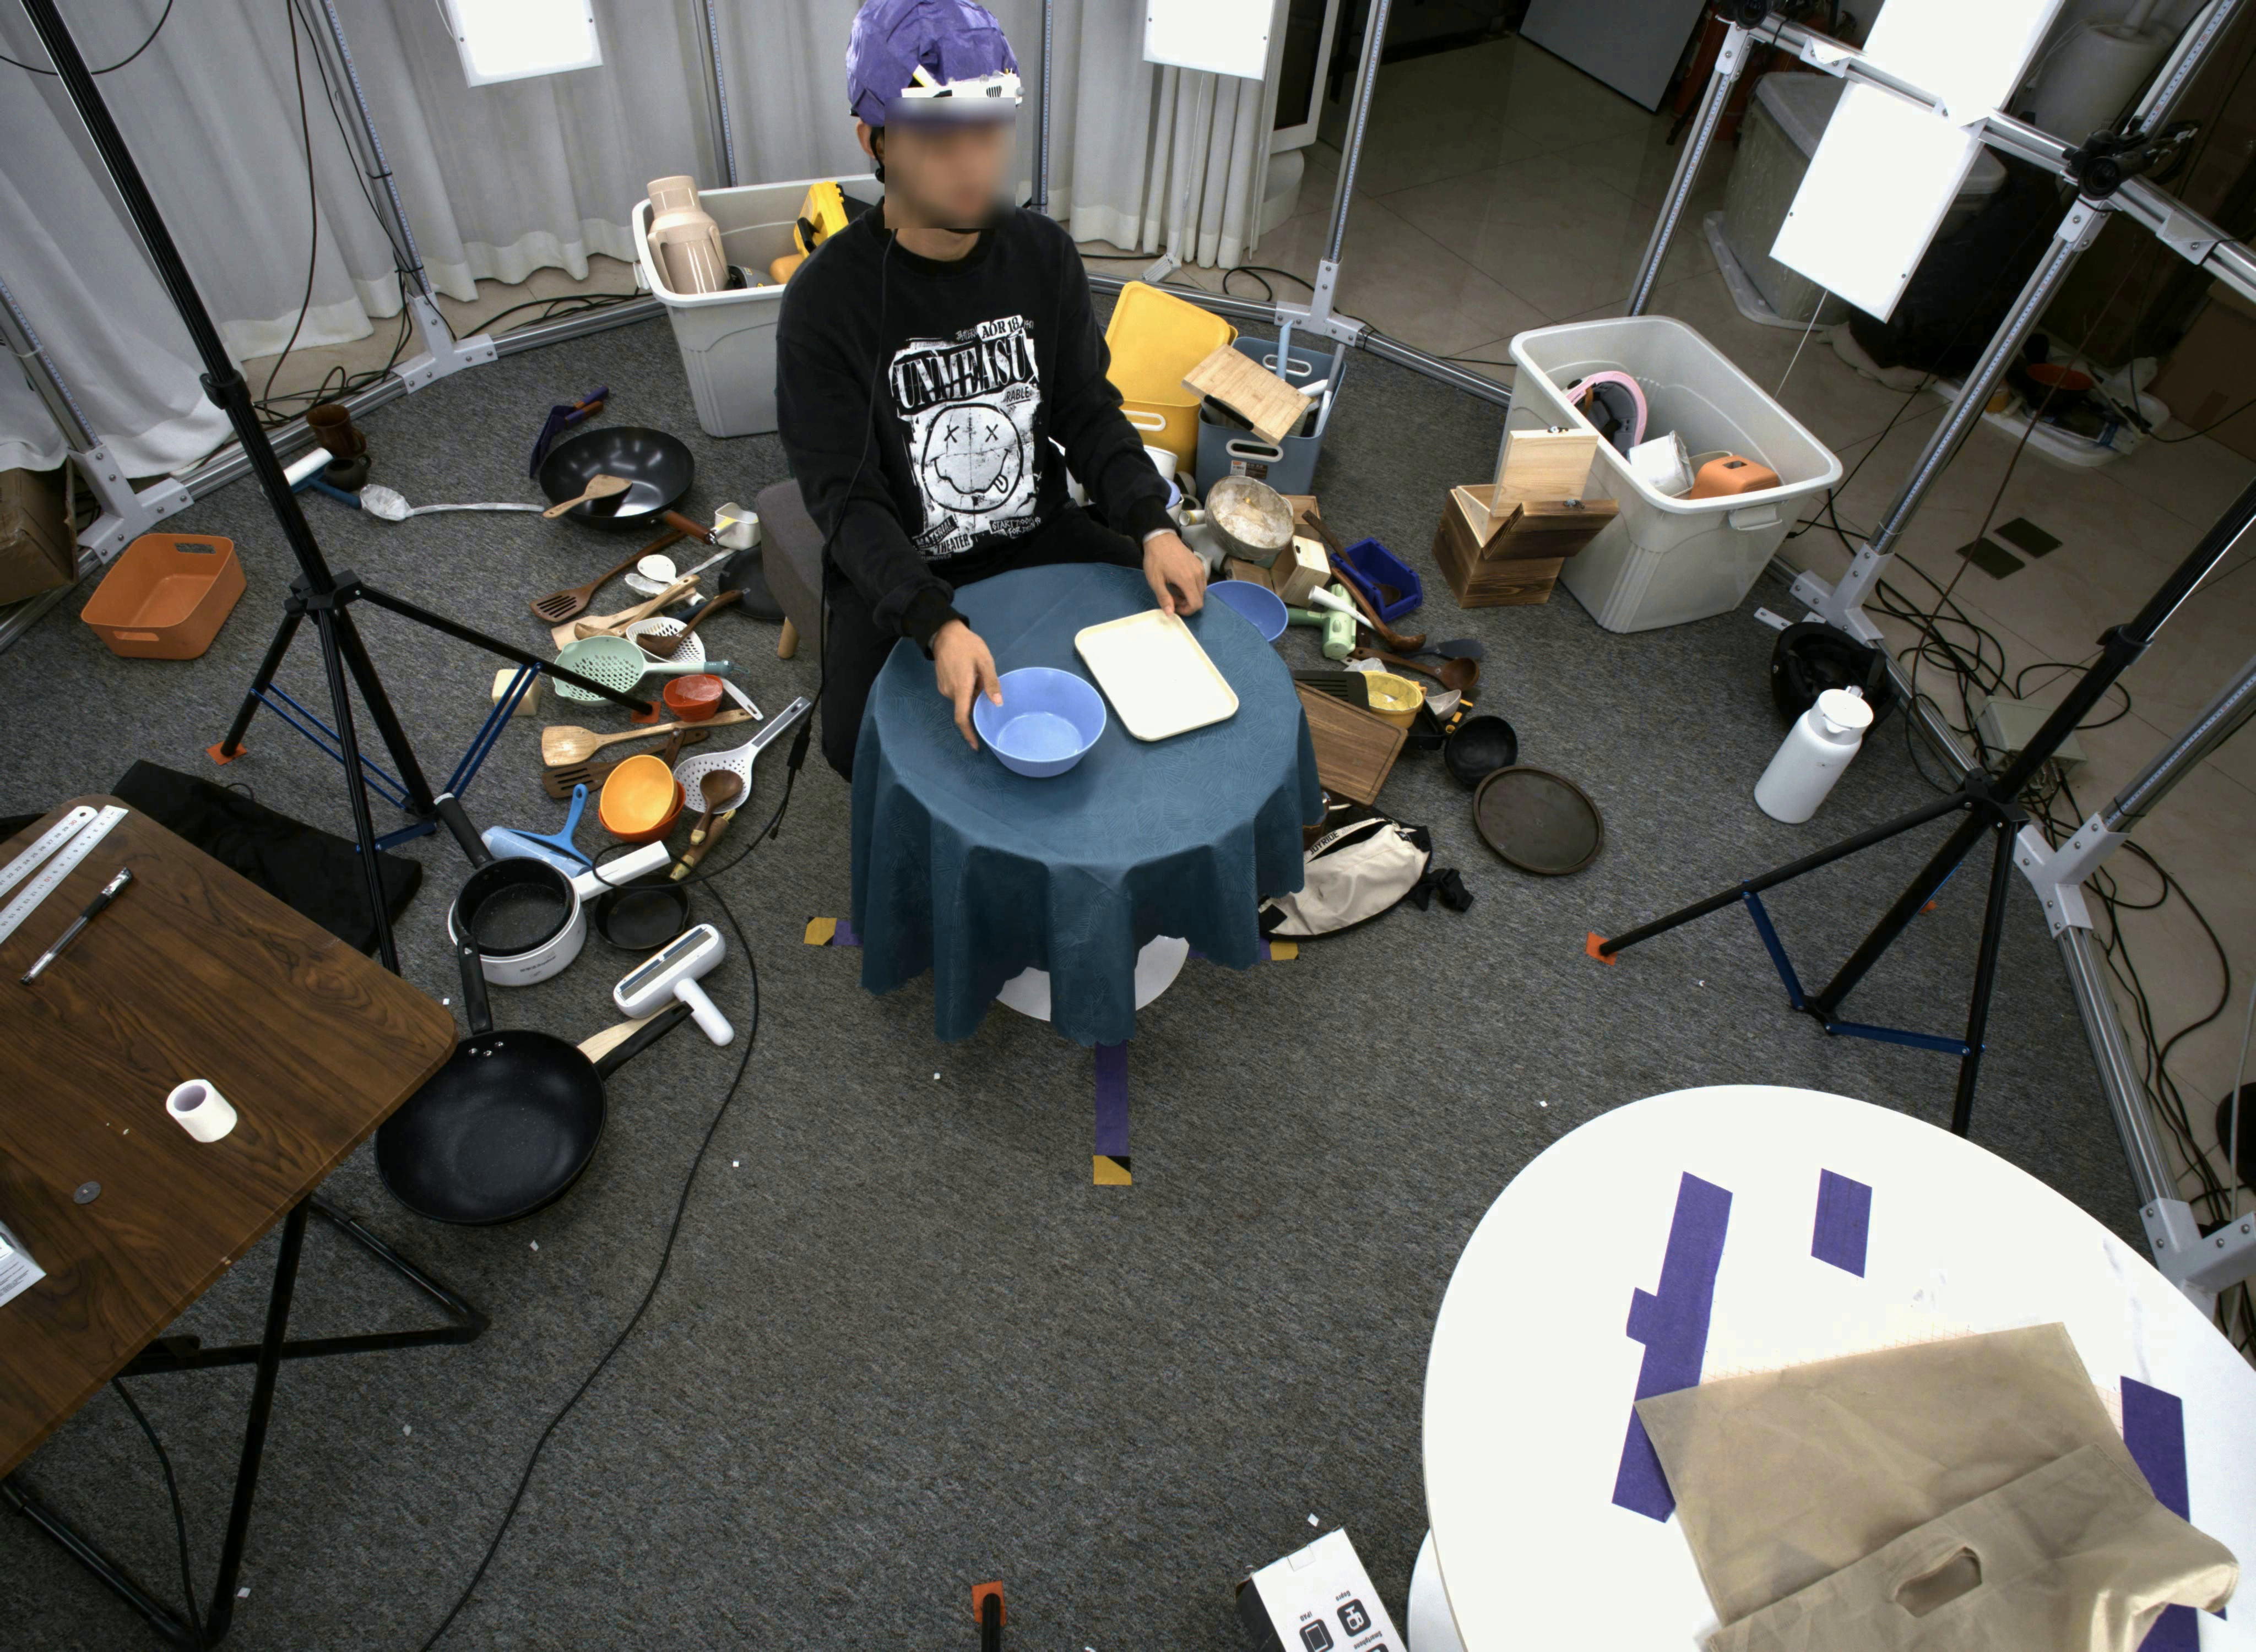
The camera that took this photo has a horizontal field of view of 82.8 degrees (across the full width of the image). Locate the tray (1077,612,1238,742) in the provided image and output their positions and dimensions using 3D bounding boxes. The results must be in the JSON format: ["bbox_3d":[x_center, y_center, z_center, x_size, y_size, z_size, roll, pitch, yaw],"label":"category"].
[{"bbox_3d":[0.040,-0.218,1.866,0.171,0.017,0.245,-17,52,-19],"label":"tray"}]

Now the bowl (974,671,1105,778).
[{"bbox_3d":[-0.120,-0.129,1.742,0.176,0.068,0.180,2,48,-3],"label":"bowl"}]
